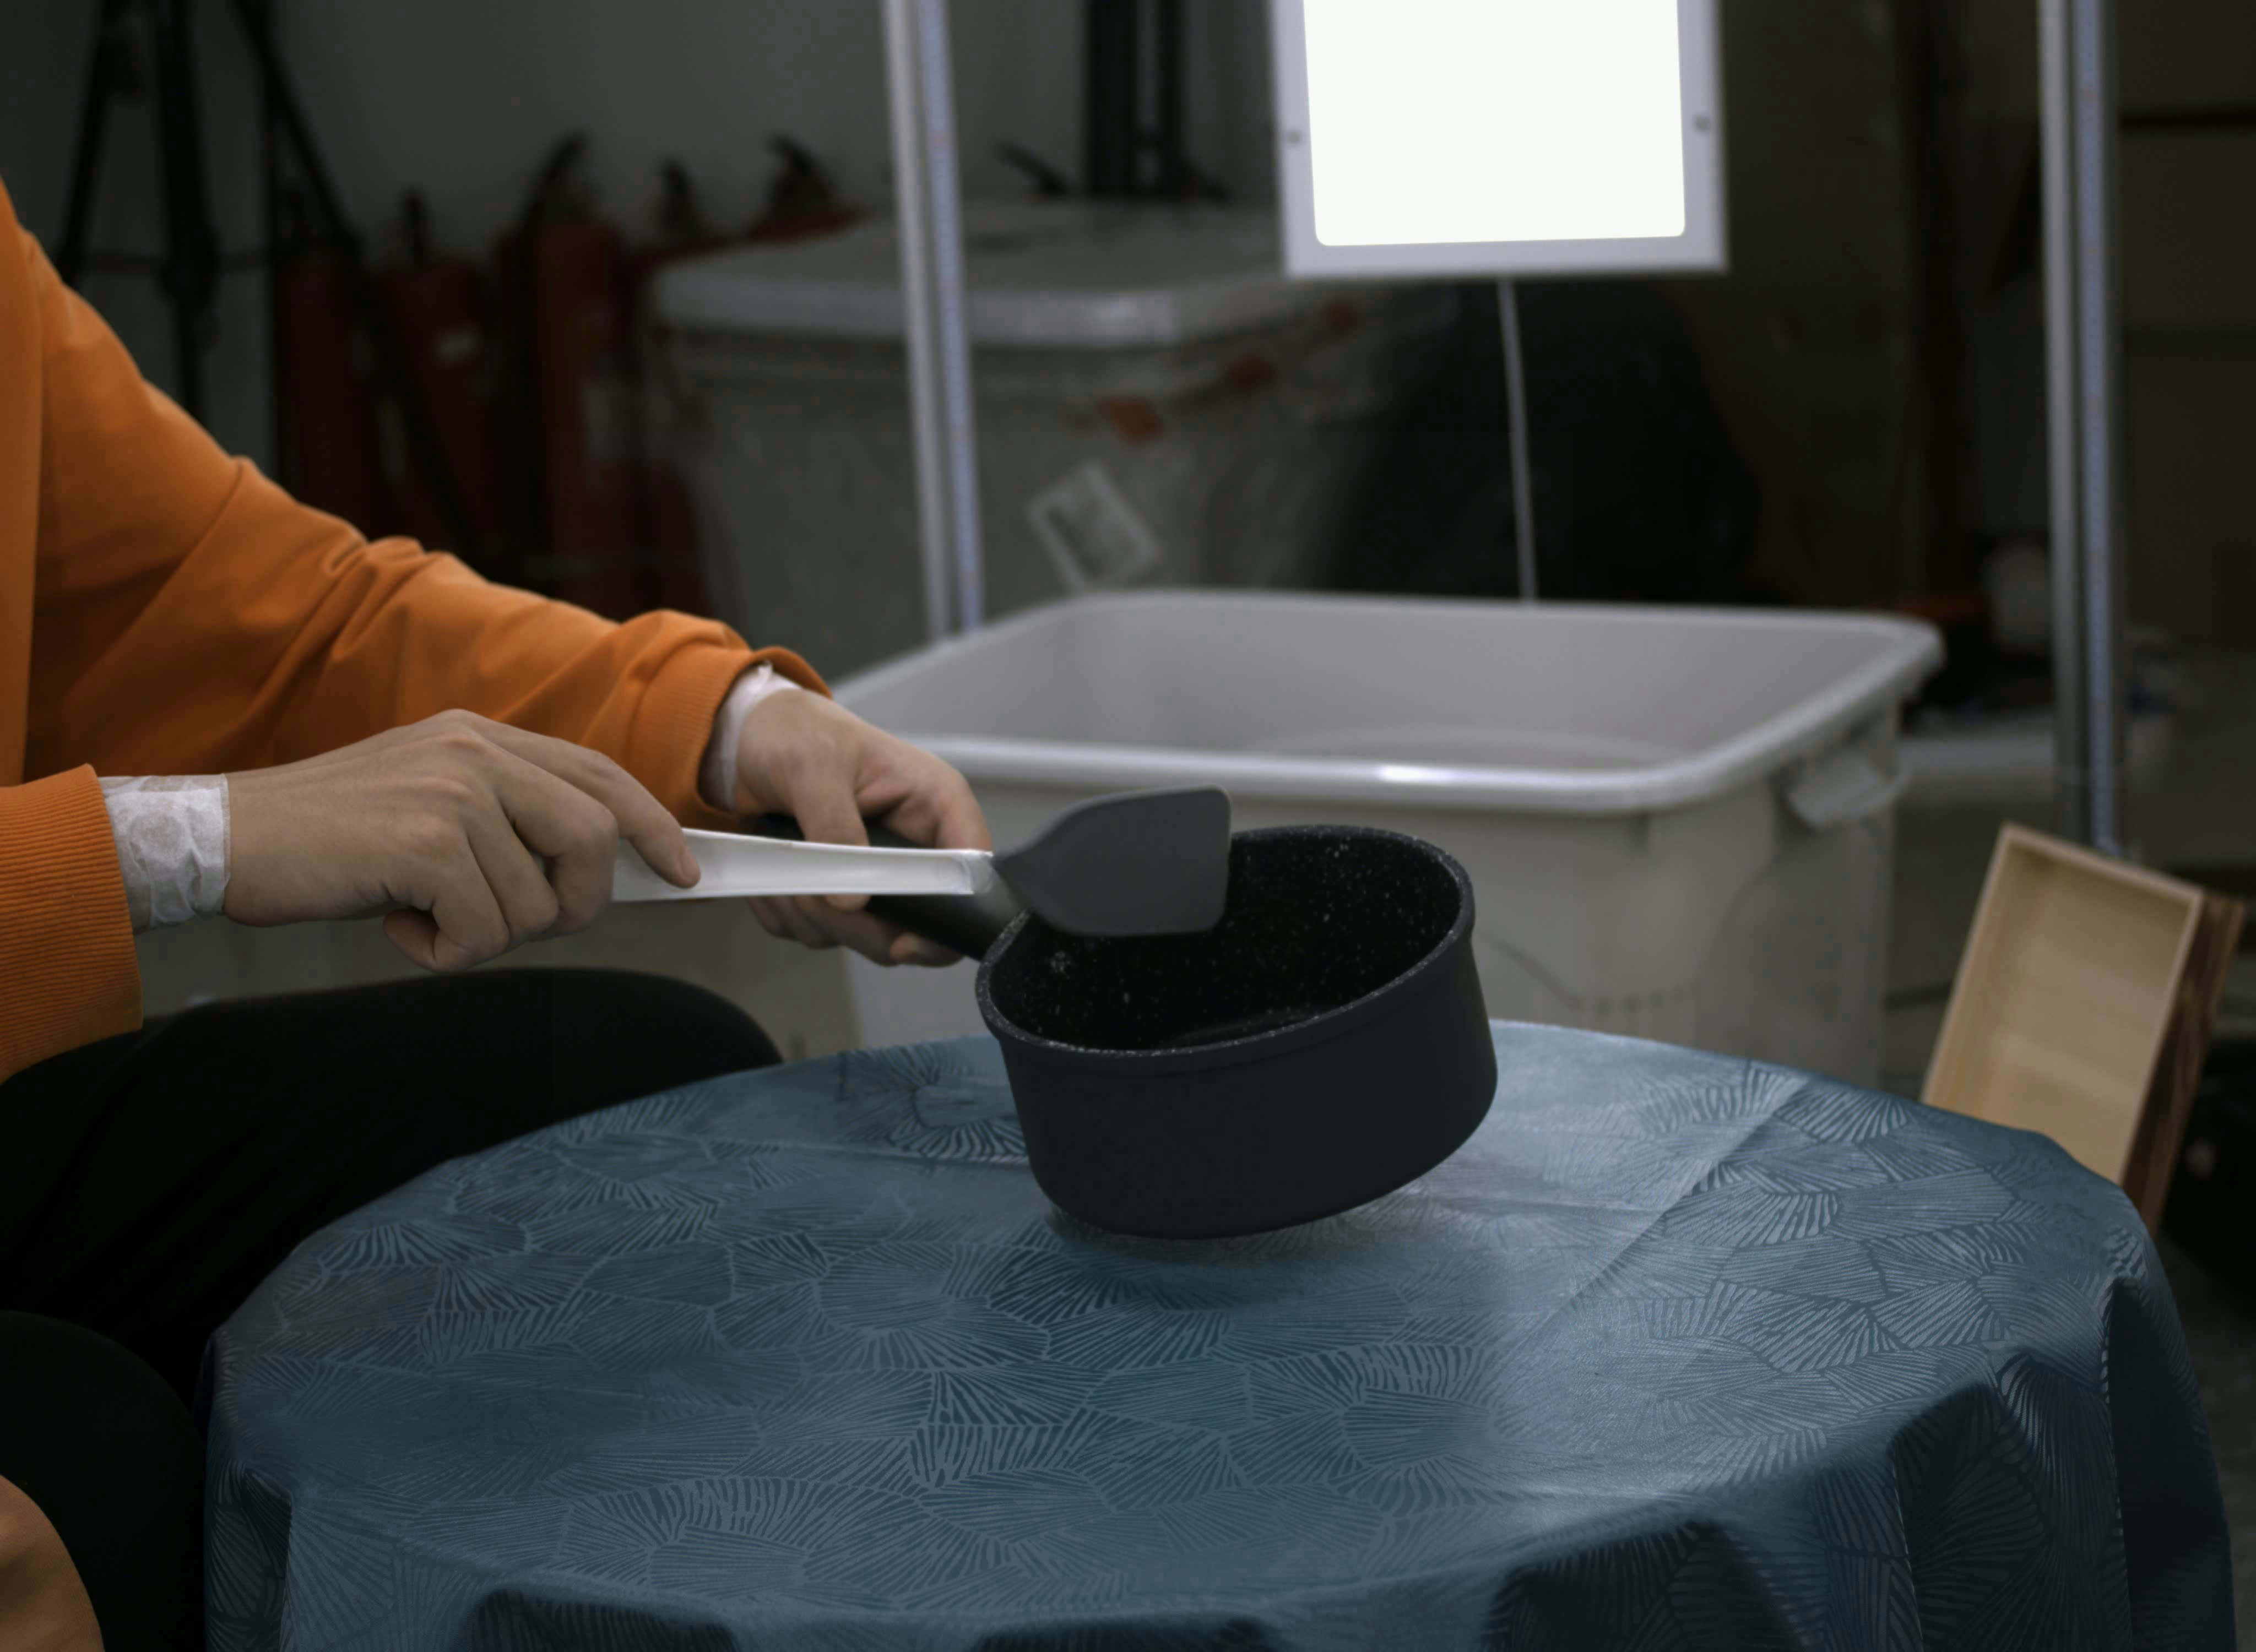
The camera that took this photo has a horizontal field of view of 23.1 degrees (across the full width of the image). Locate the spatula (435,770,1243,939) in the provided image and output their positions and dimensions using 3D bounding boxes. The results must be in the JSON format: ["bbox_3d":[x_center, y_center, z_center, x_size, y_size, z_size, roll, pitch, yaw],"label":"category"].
[{"bbox_3d":[-0.090,0.010,1.852,0.282,0.059,0.032,0,7,-20],"label":"spatula"}]

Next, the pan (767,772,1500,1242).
[{"bbox_3d":[-0.012,0.053,1.920,0.168,0.086,0.335,-28,28,-32],"label":"pan"}]
